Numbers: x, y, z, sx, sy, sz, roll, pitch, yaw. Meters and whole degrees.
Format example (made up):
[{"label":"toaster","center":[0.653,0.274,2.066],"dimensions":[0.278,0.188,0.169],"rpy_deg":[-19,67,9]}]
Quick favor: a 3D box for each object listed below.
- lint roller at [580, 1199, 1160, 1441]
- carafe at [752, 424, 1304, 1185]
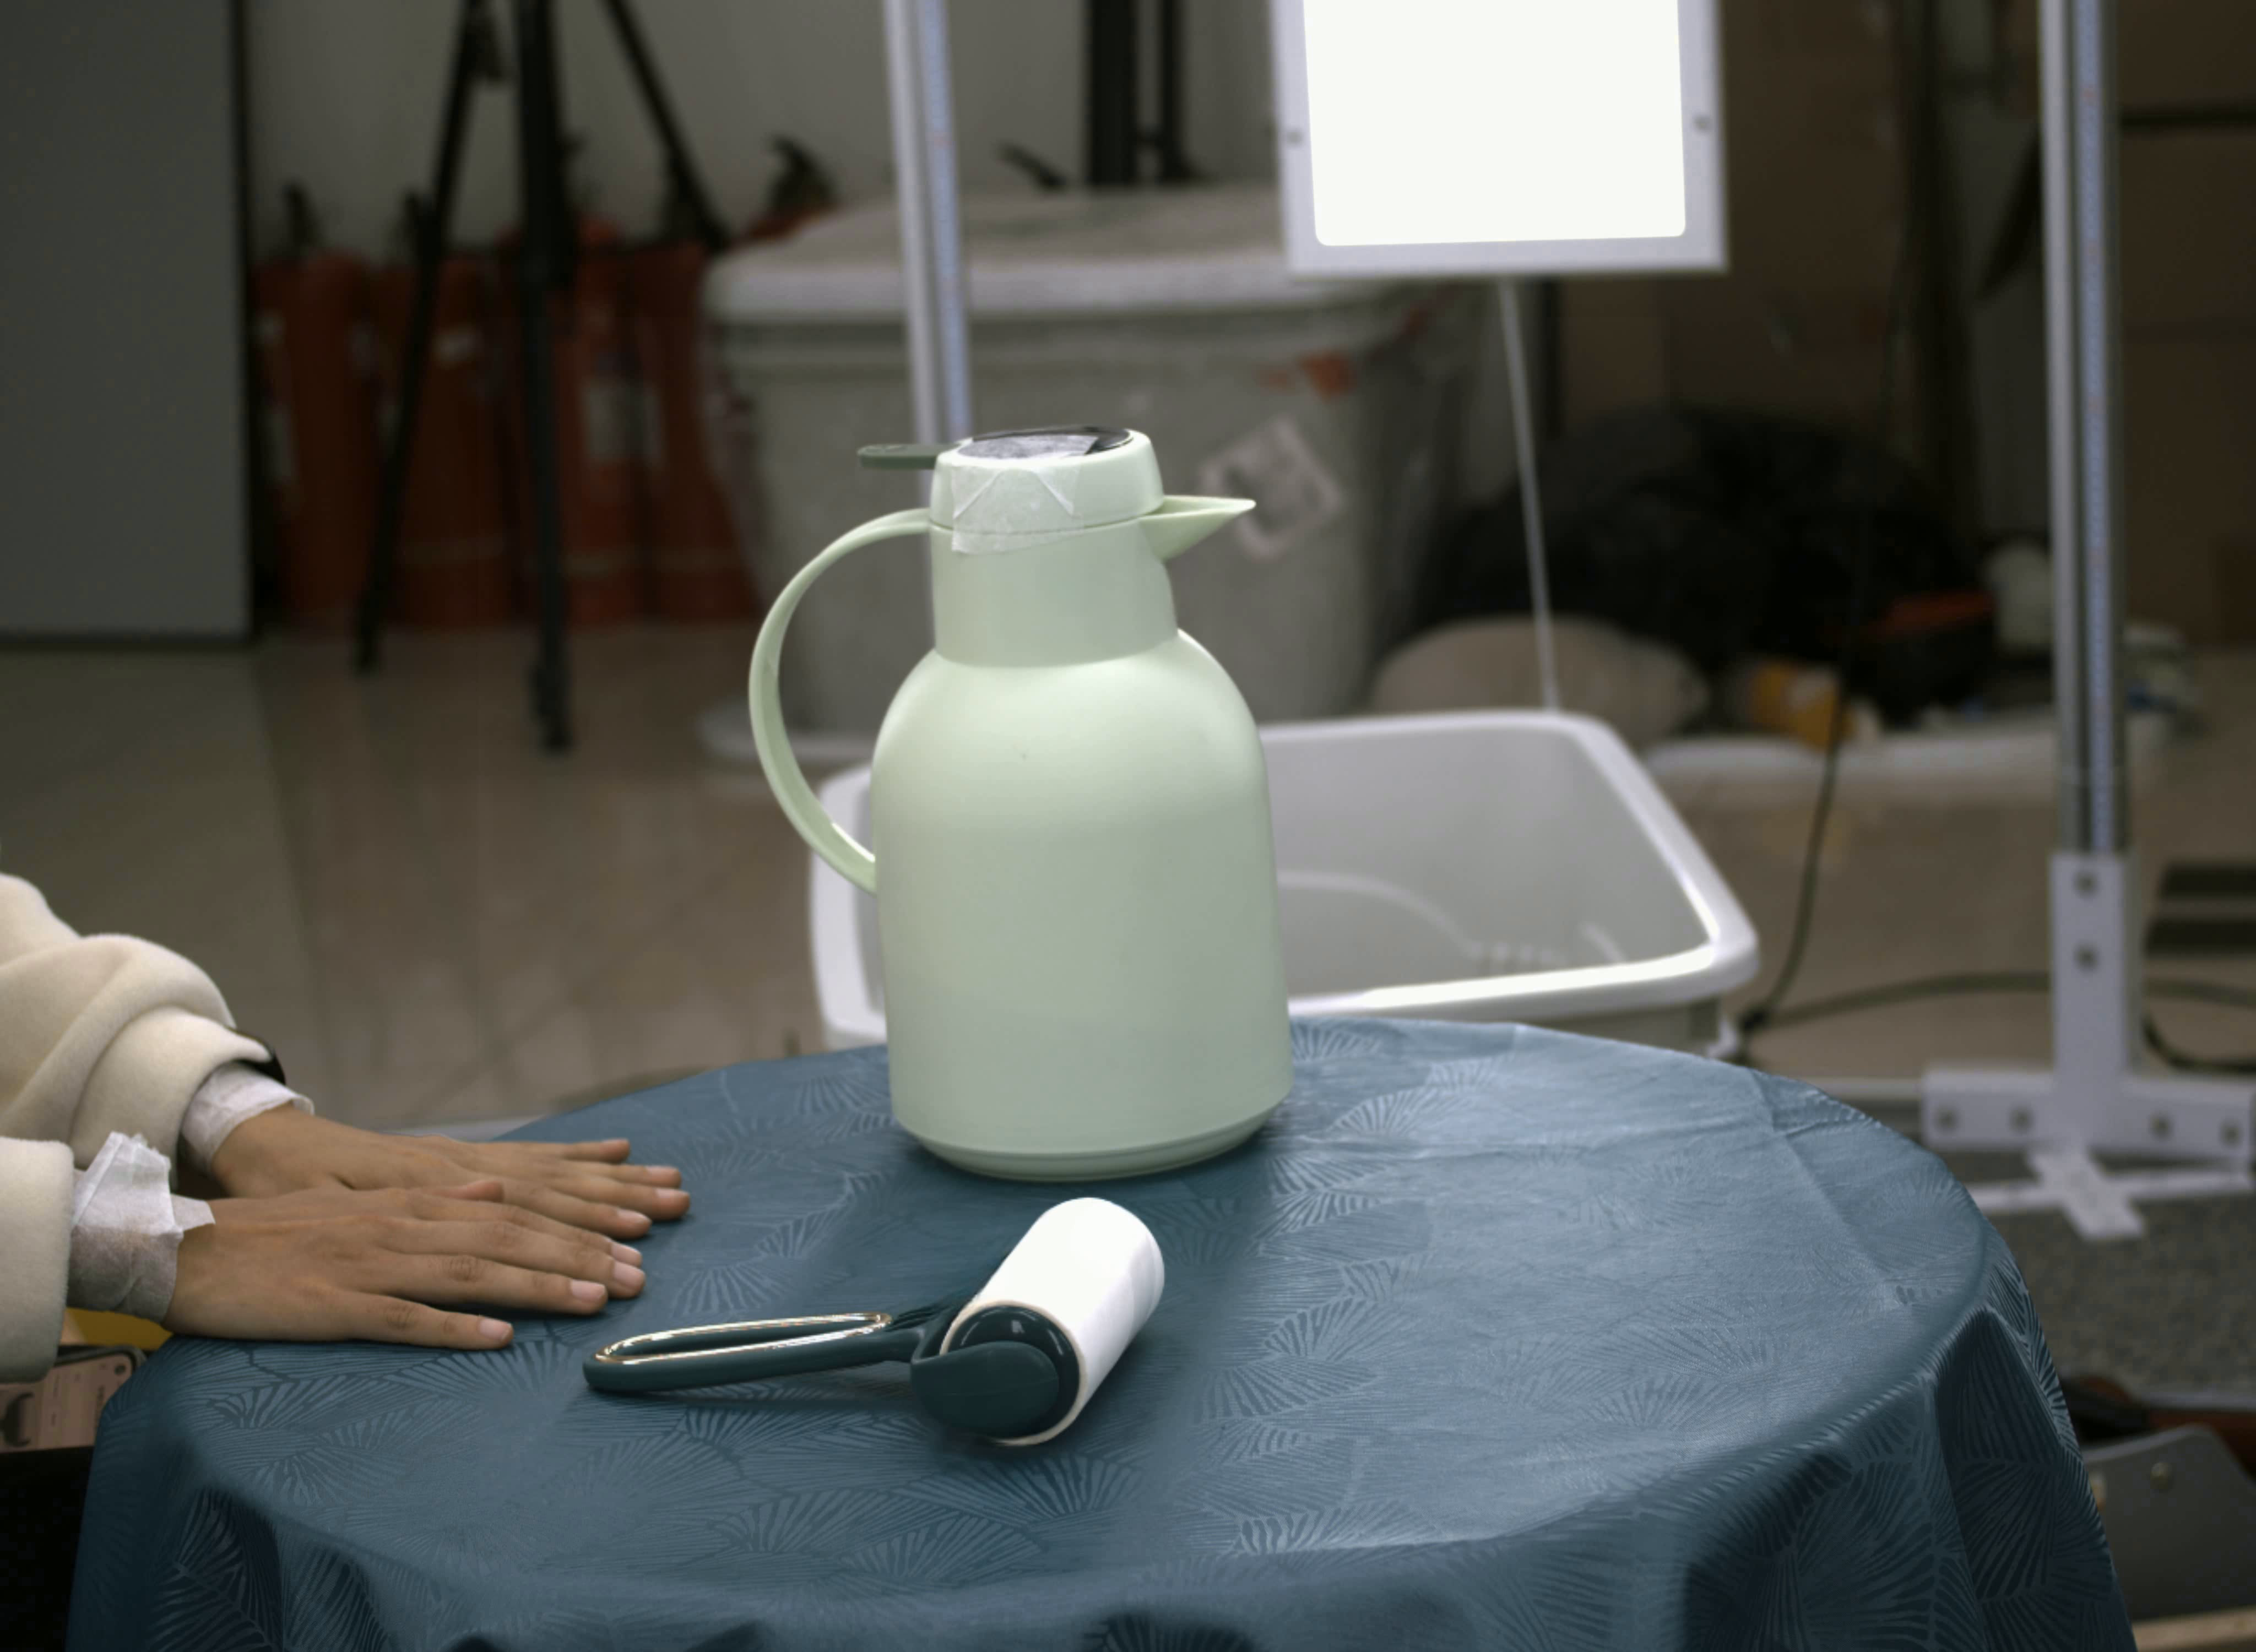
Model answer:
[{"label":"lint roller","center":[-0.088,0.153,1.723],"dimensions":[0.182,0.048,0.132],"rpy_deg":[-1,14,17]},{"label":"carafe","center":[-0.034,-0.011,1.947],"dimensions":[0.188,0.257,0.142],"rpy_deg":[-5,15,15]}]
